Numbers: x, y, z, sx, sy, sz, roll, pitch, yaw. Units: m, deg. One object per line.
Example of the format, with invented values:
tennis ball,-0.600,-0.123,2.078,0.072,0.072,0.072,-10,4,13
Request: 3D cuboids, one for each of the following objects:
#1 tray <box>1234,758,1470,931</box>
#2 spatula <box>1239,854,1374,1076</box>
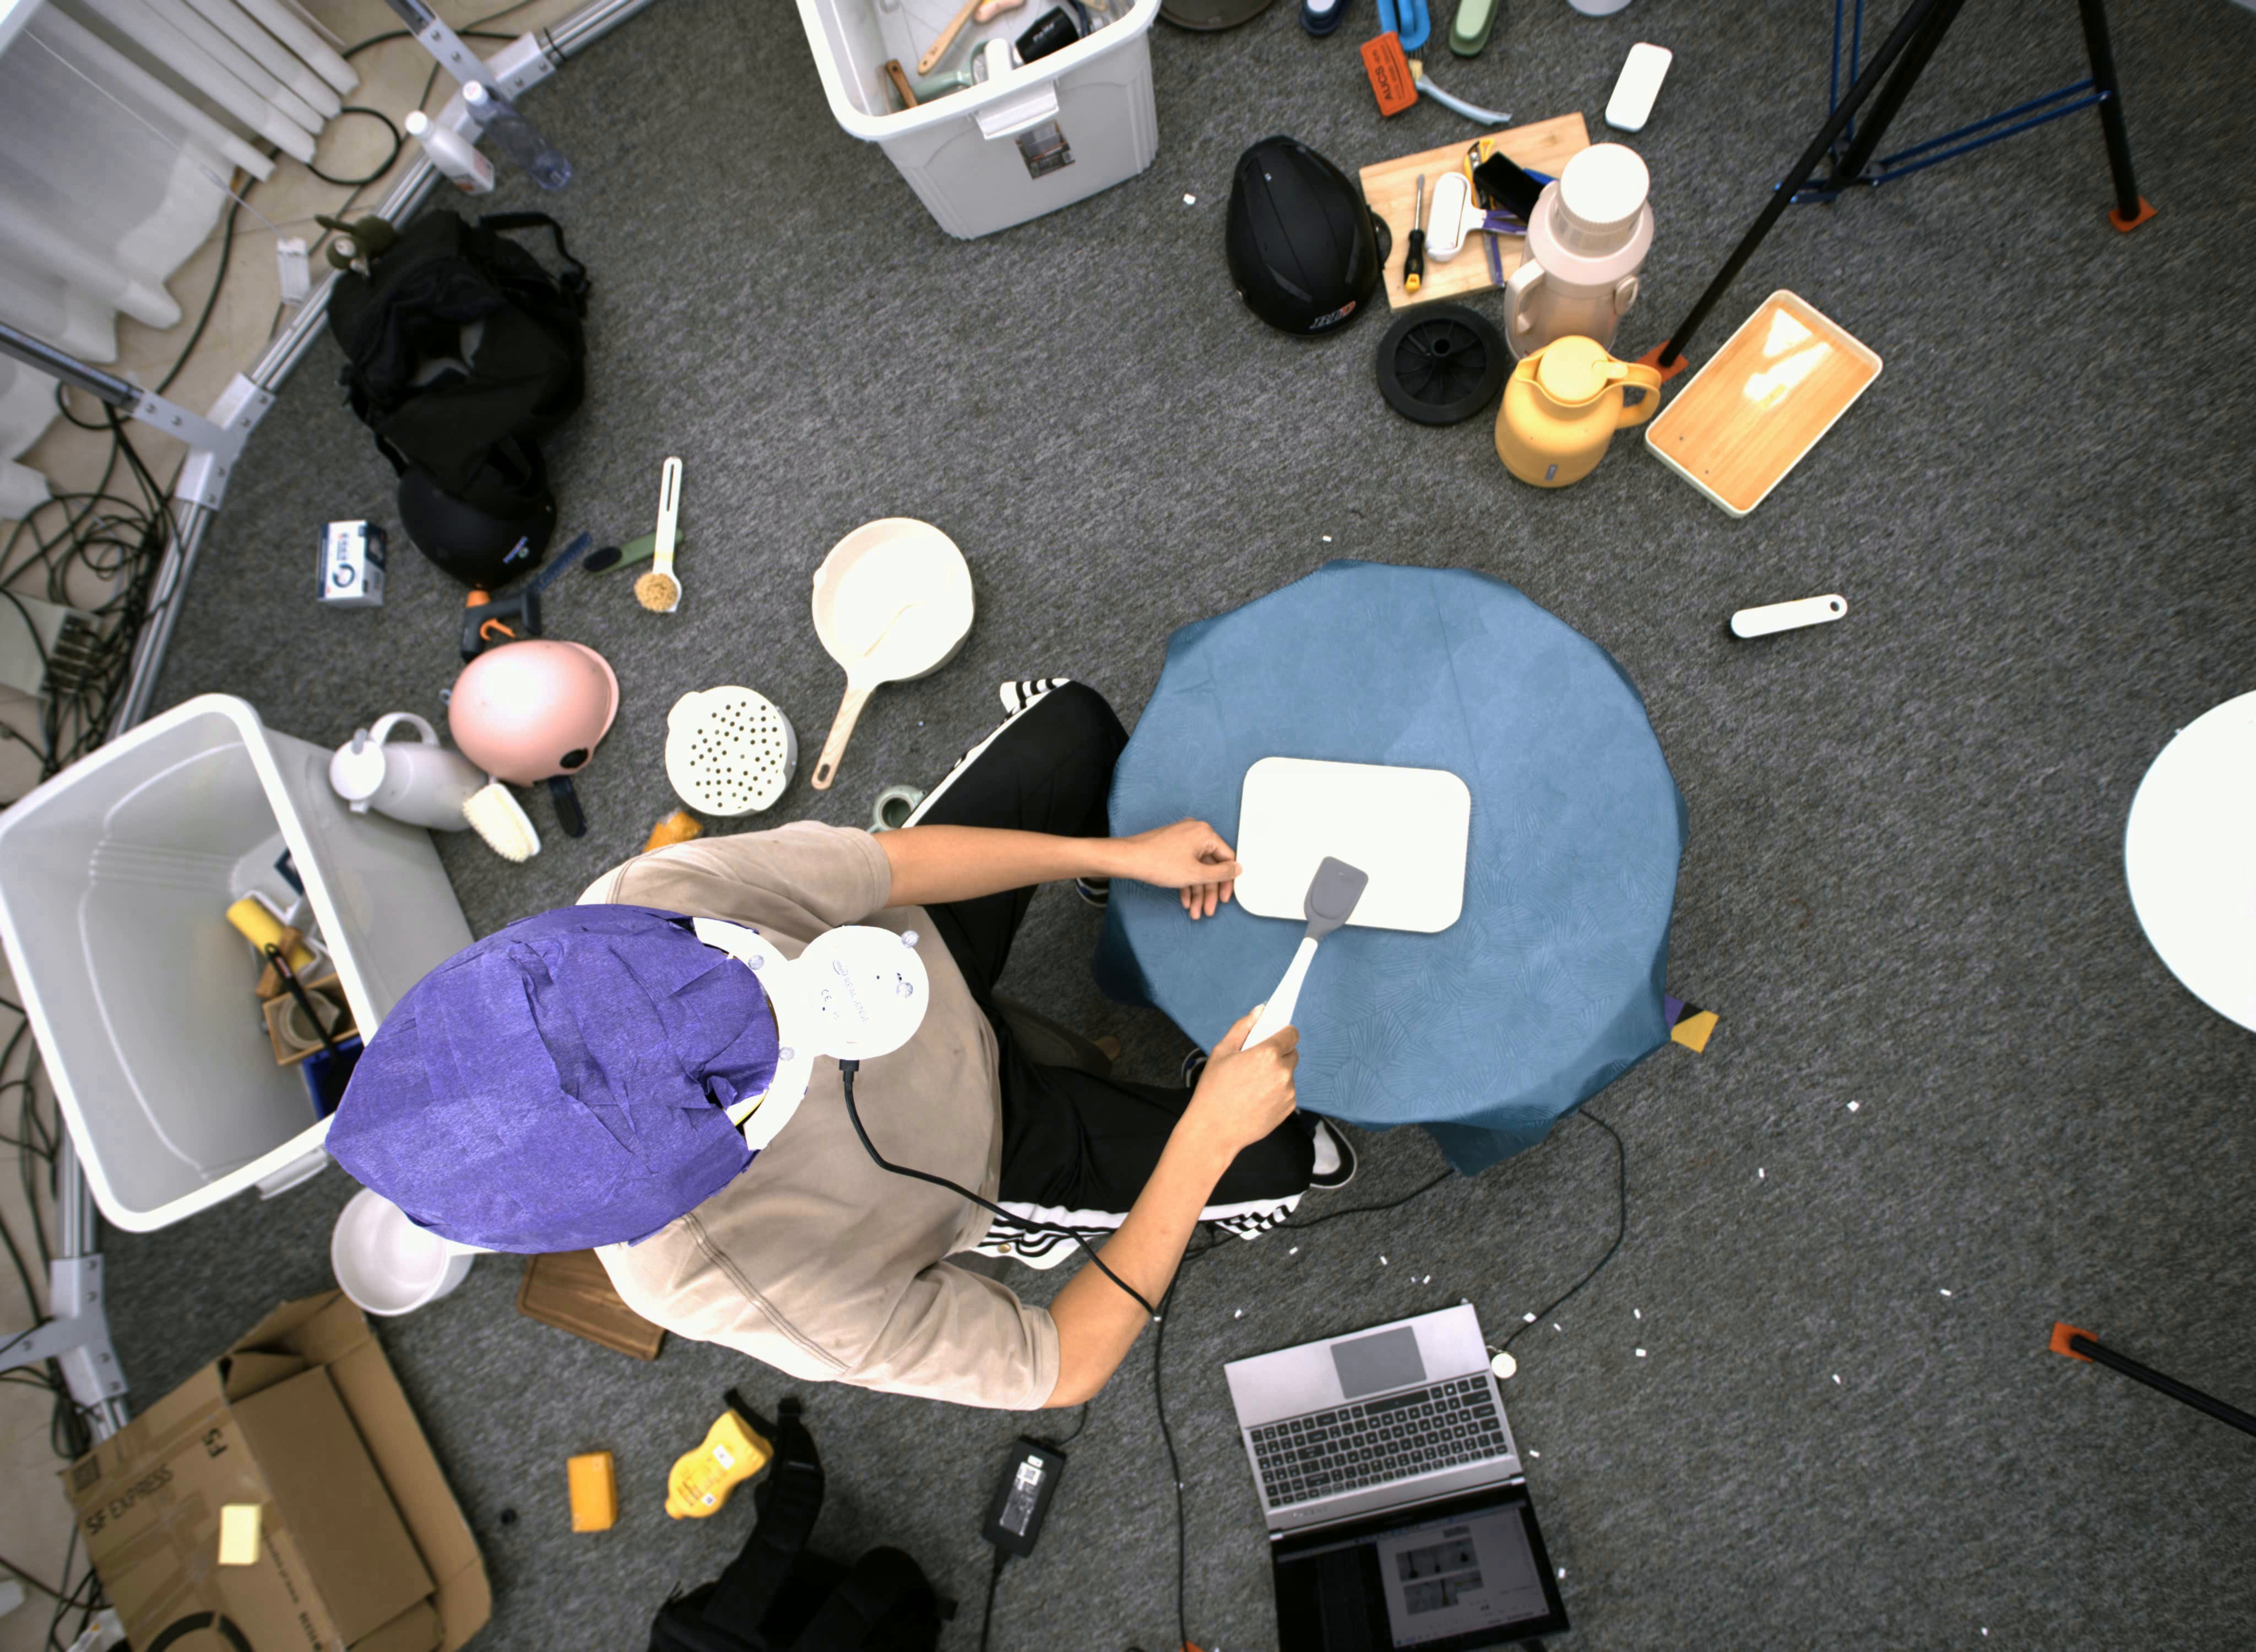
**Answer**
tray,0.237,0.018,1.461,0.240,0.017,0.170,5,87,11
spatula,0.173,0.128,1.348,0.058,0.033,0.280,23,47,12
